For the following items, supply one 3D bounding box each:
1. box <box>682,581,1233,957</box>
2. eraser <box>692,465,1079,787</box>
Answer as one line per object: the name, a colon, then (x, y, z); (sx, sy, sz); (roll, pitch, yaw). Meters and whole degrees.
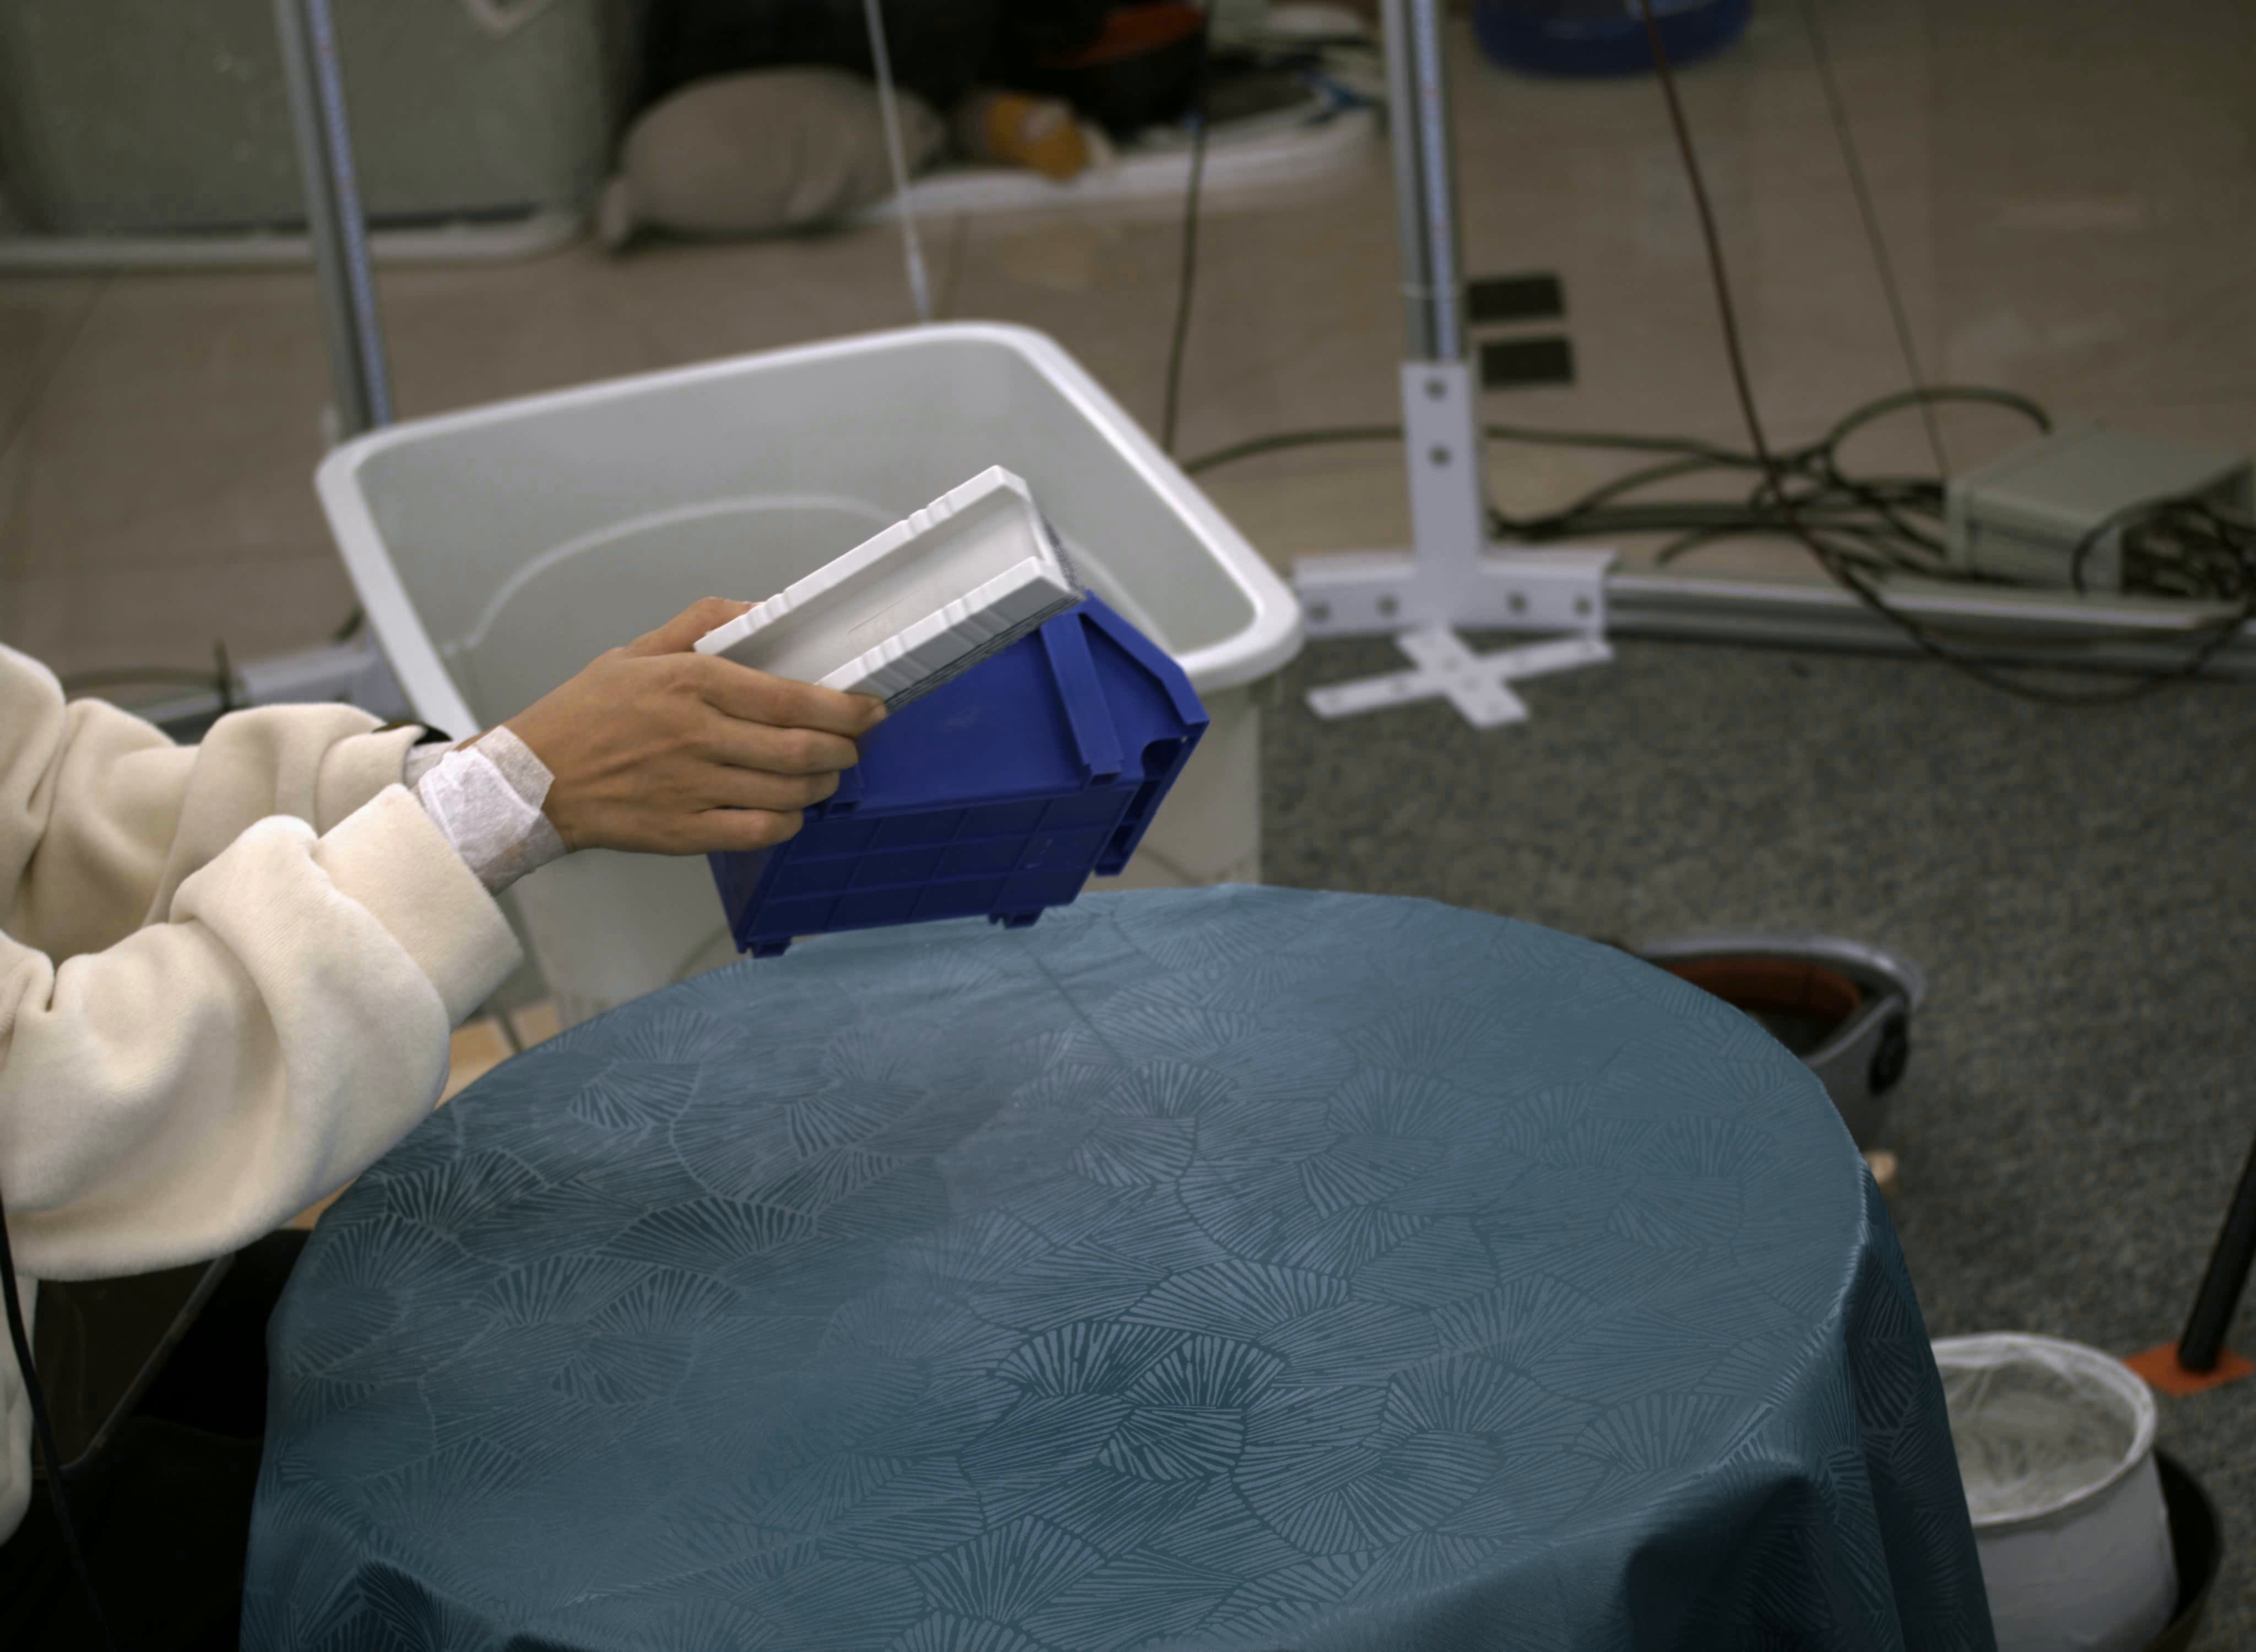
box: (-0.064, -0.022, 2.153); (0.179, 0.126, 0.081); (-9, 64, -22)
eraser: (-0.087, -0.071, 2.035); (0.135, 0.049, 0.047); (-32, -22, 16)
